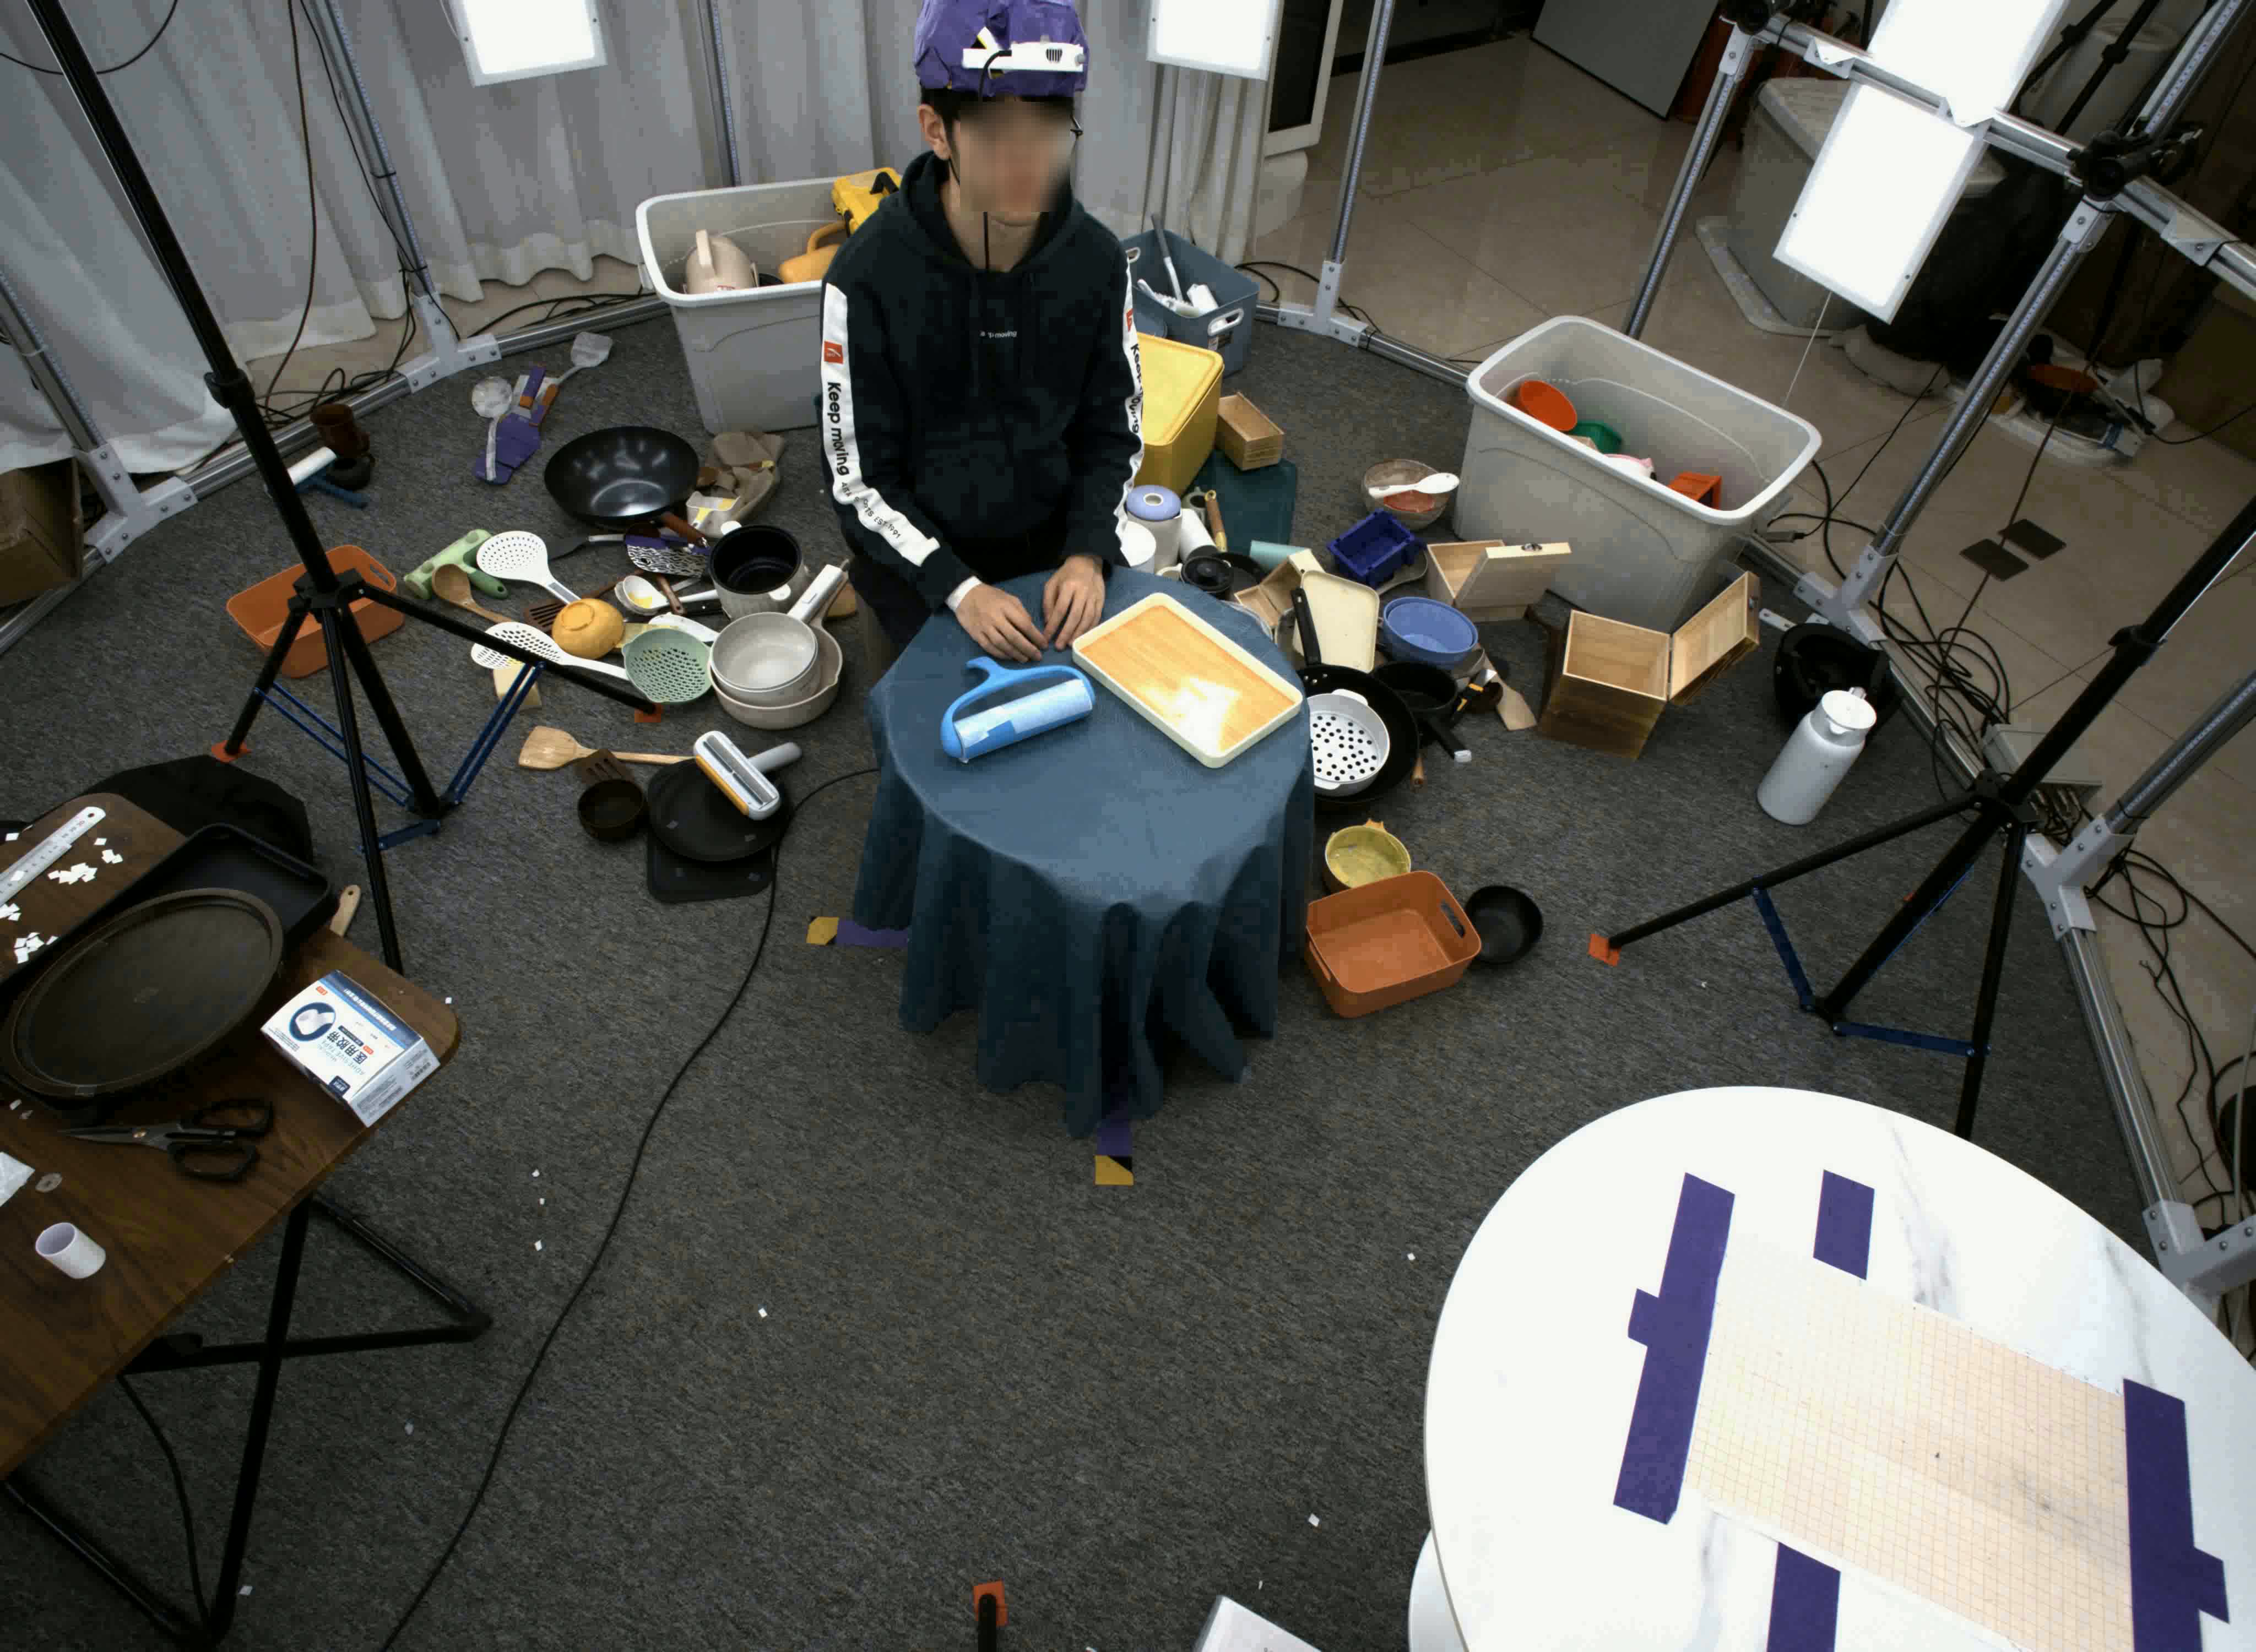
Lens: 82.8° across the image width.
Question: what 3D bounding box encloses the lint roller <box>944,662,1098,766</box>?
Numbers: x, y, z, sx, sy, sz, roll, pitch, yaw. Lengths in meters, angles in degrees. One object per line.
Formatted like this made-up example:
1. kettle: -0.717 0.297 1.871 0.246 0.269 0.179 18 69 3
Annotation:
1. lint roller: -0.176 -0.183 1.780 0.230 0.066 0.184 -27 56 -22

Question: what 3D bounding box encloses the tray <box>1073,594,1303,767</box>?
1. tray: 0.083 -0.215 1.842 0.193 0.027 0.305 -34 59 -28
